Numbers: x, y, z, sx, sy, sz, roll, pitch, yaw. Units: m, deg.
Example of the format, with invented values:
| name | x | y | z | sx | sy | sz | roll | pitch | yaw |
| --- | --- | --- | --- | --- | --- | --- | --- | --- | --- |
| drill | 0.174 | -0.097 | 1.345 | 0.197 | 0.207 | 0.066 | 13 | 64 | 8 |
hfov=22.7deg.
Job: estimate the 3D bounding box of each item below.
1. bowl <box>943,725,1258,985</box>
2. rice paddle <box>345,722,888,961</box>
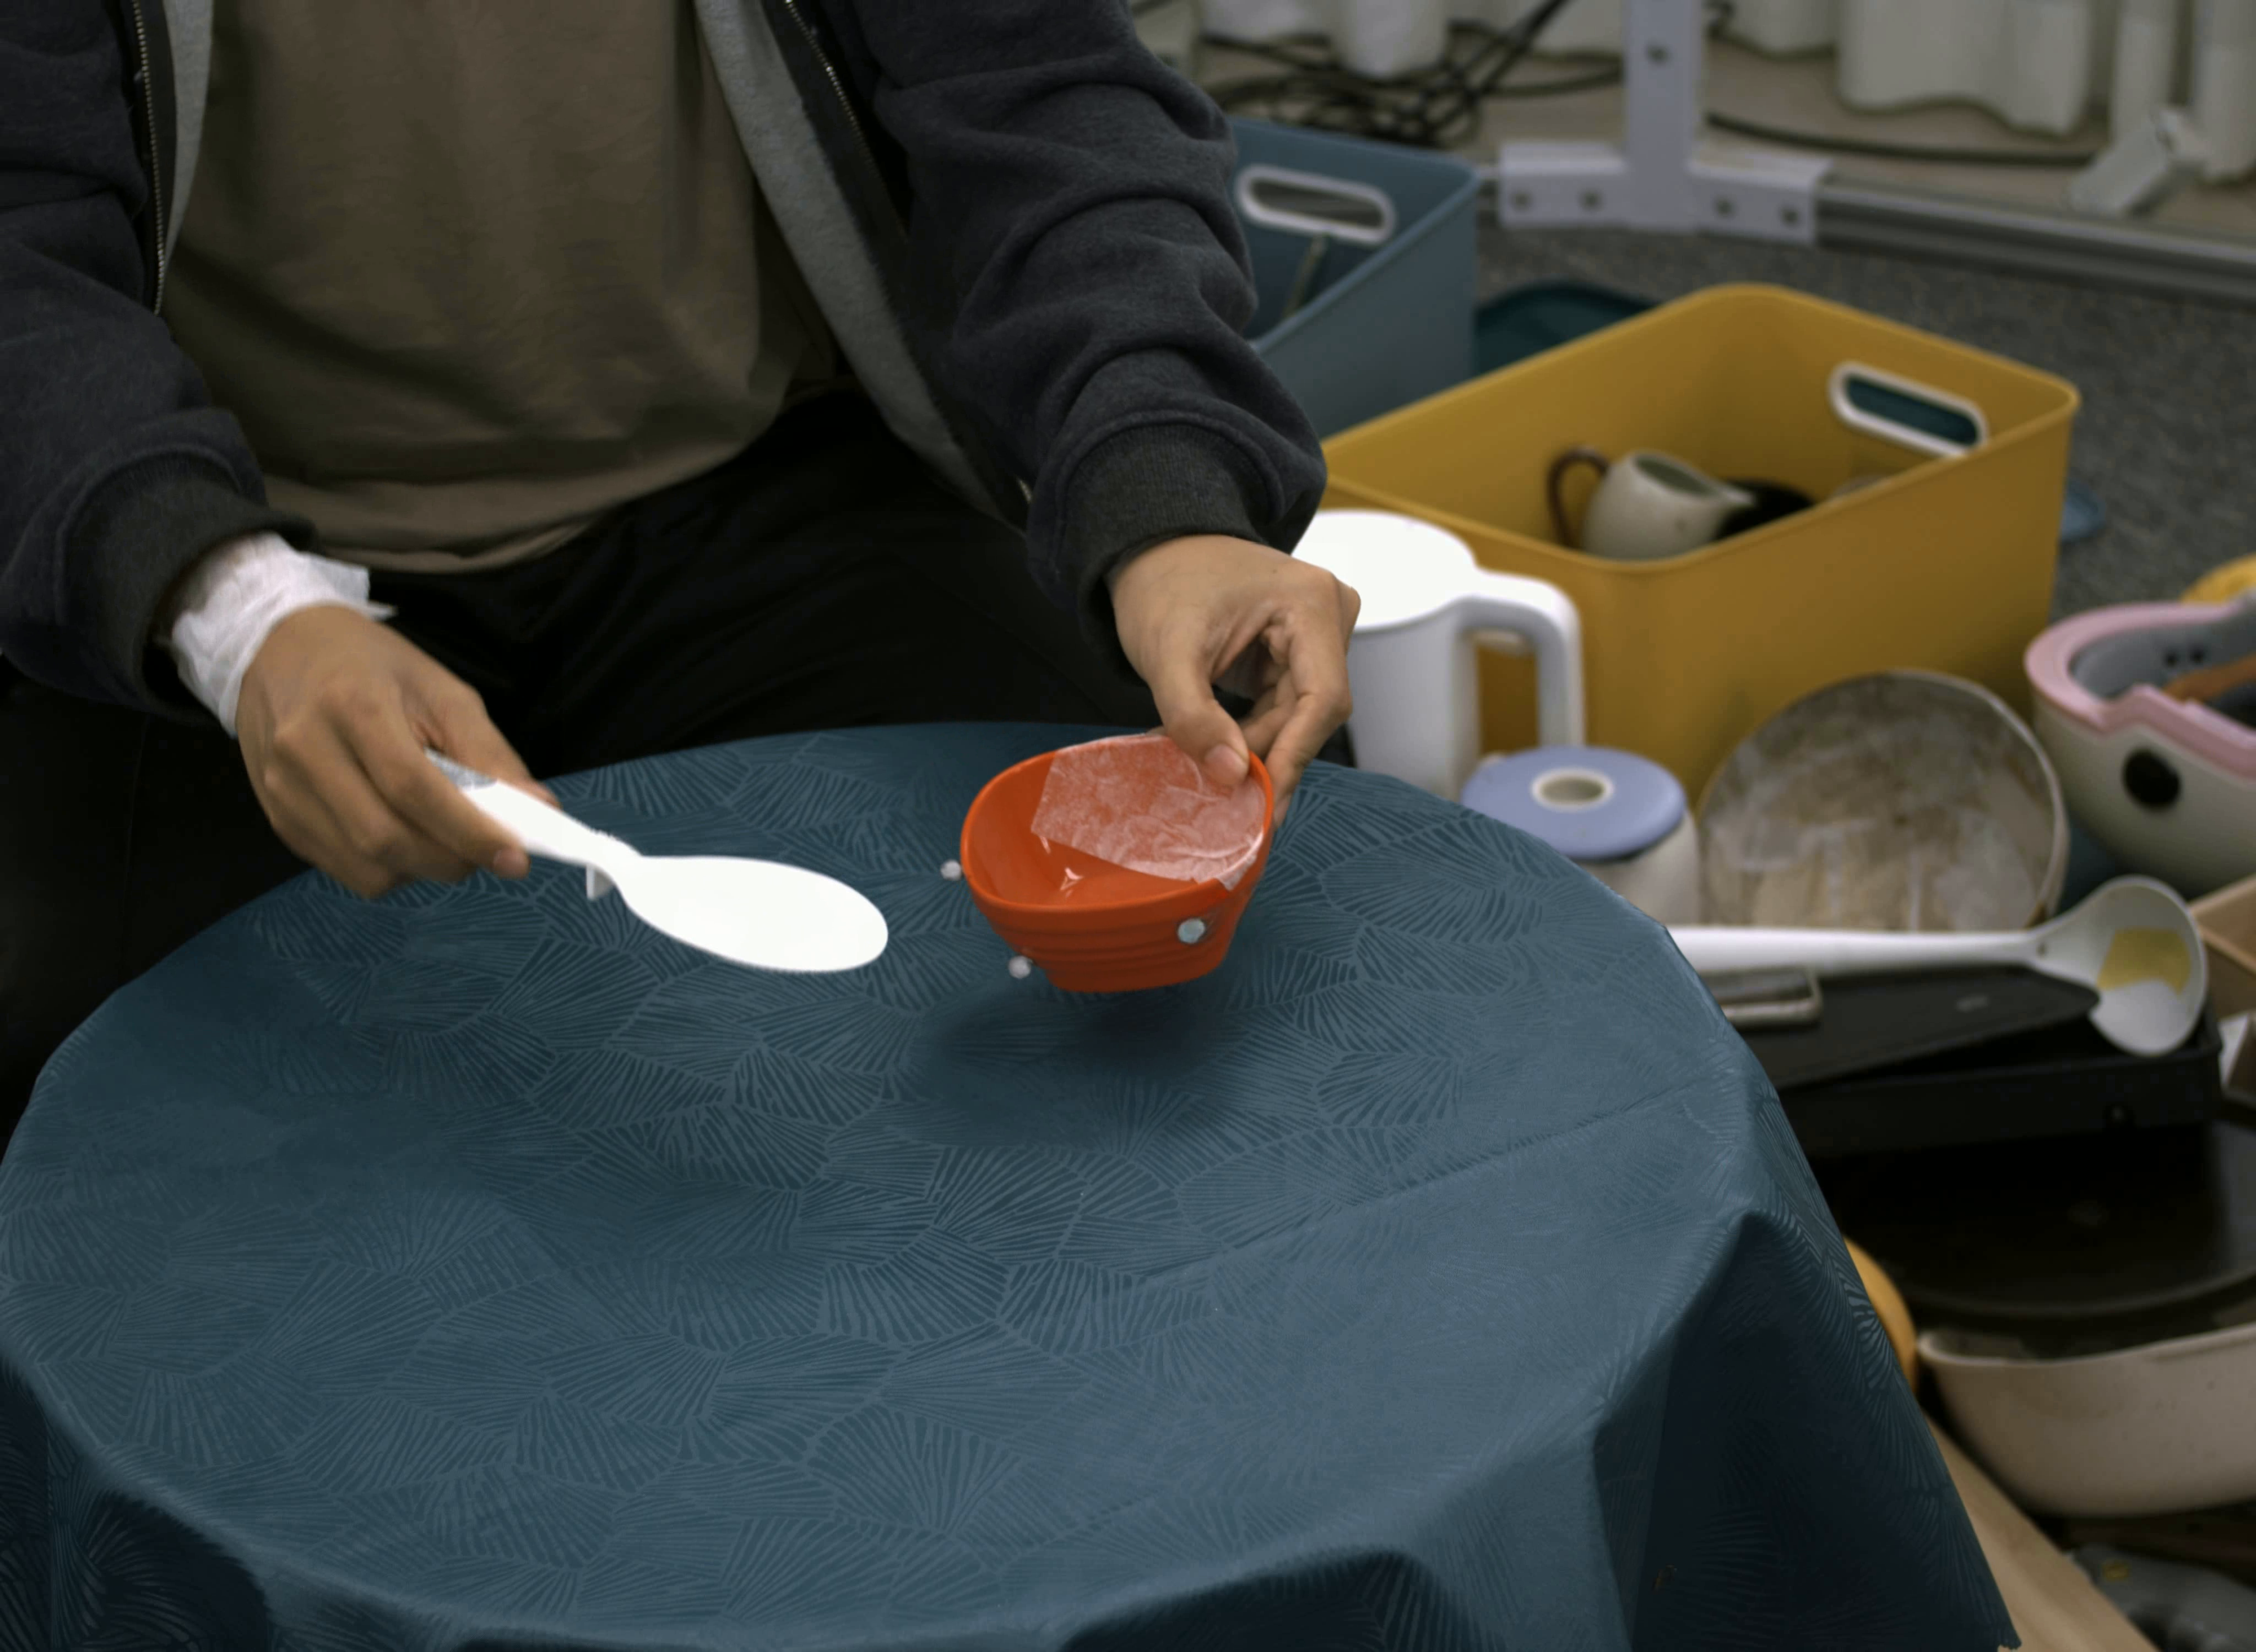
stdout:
| name | x | y | z | sx | sy | sz | roll | pitch | yaw |
| --- | --- | --- | --- | --- | --- | --- | --- | --- | --- |
| bowl | -0.005 | 0.015 | 1.945 | 0.118 | 0.051 | 0.121 | -9 | 30 | 5 |
| rice paddle | -0.170 | 0.007 | 1.875 | 0.204 | 0.029 | 0.070 | 18 | 29 | 25 |
